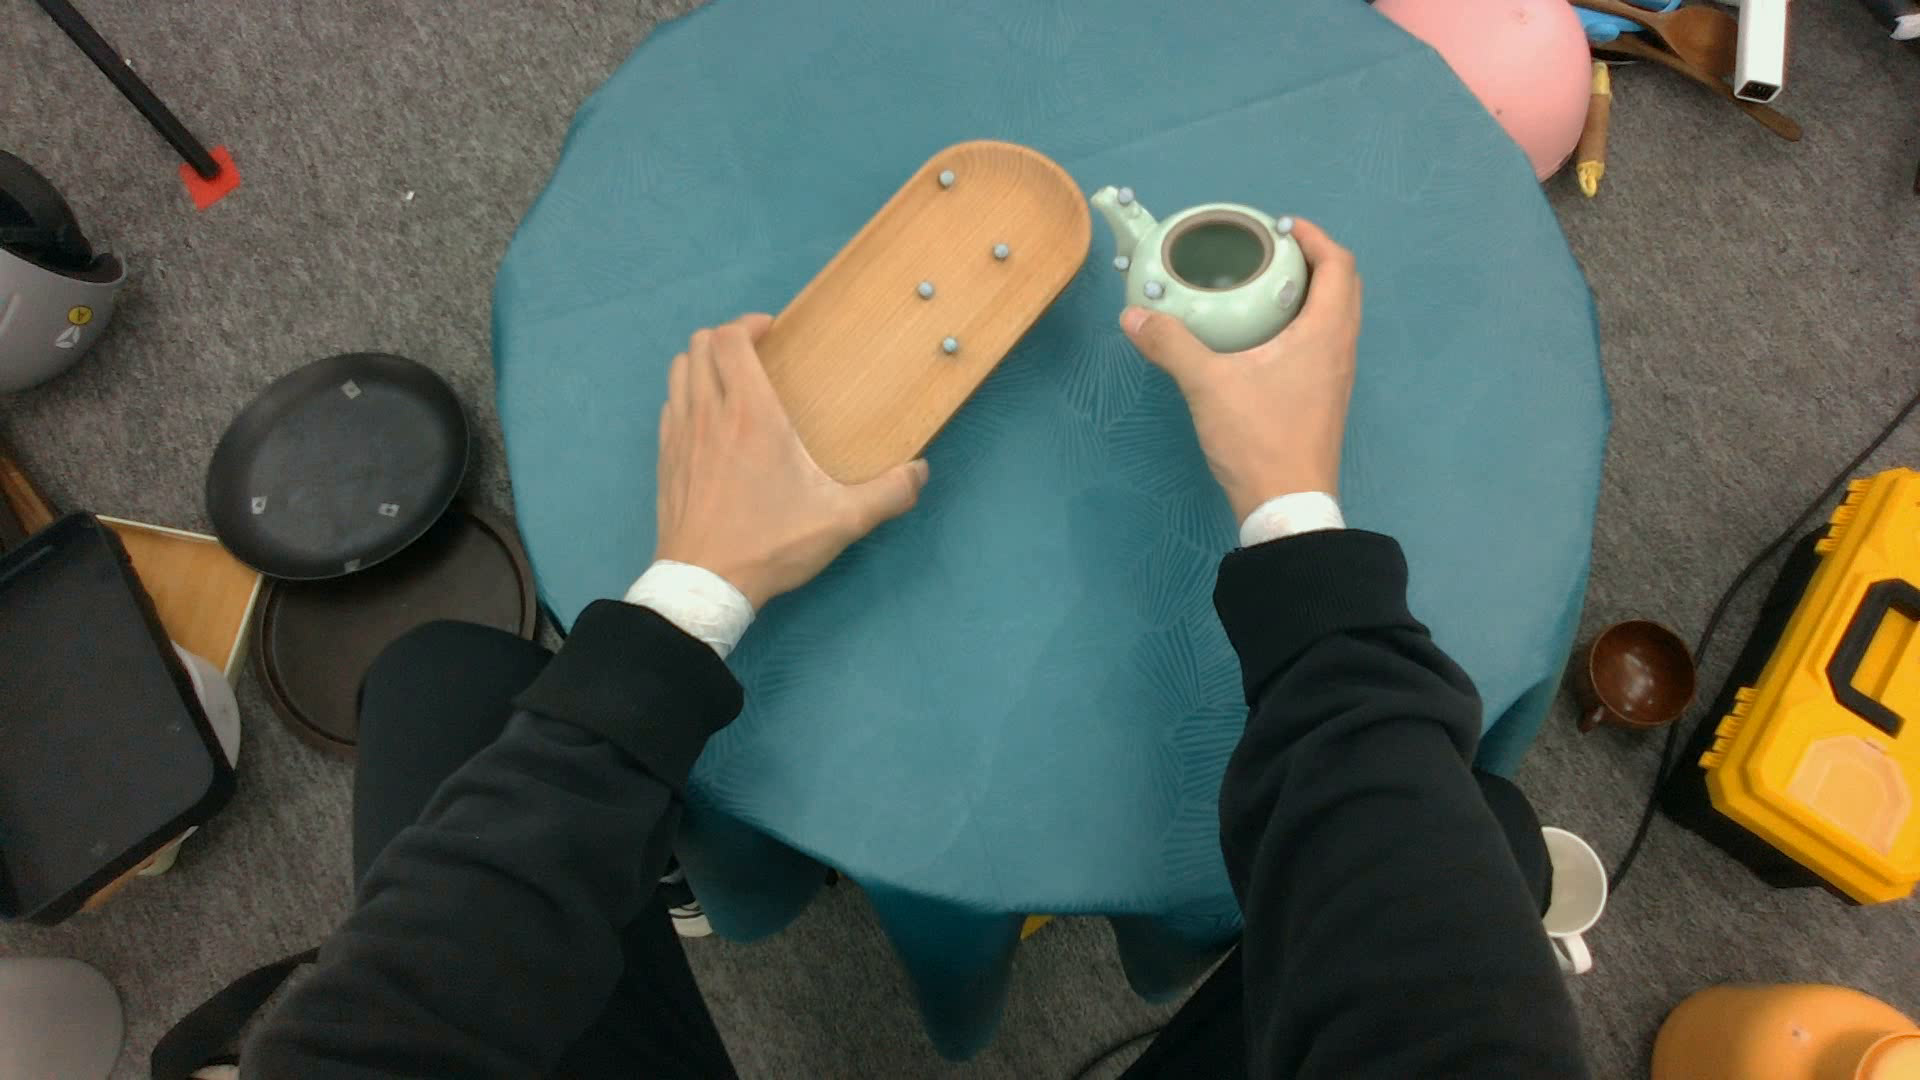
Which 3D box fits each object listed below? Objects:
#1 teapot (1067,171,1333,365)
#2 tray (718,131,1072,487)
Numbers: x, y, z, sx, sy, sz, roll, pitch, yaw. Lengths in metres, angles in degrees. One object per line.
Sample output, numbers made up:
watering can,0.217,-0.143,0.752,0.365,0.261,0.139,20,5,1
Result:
teapot,0.115,-0.129,0.670,0.144,0.074,0.088,32,69,28
tray,-0.030,-0.121,0.704,0.101,0.020,0.232,36,71,8
